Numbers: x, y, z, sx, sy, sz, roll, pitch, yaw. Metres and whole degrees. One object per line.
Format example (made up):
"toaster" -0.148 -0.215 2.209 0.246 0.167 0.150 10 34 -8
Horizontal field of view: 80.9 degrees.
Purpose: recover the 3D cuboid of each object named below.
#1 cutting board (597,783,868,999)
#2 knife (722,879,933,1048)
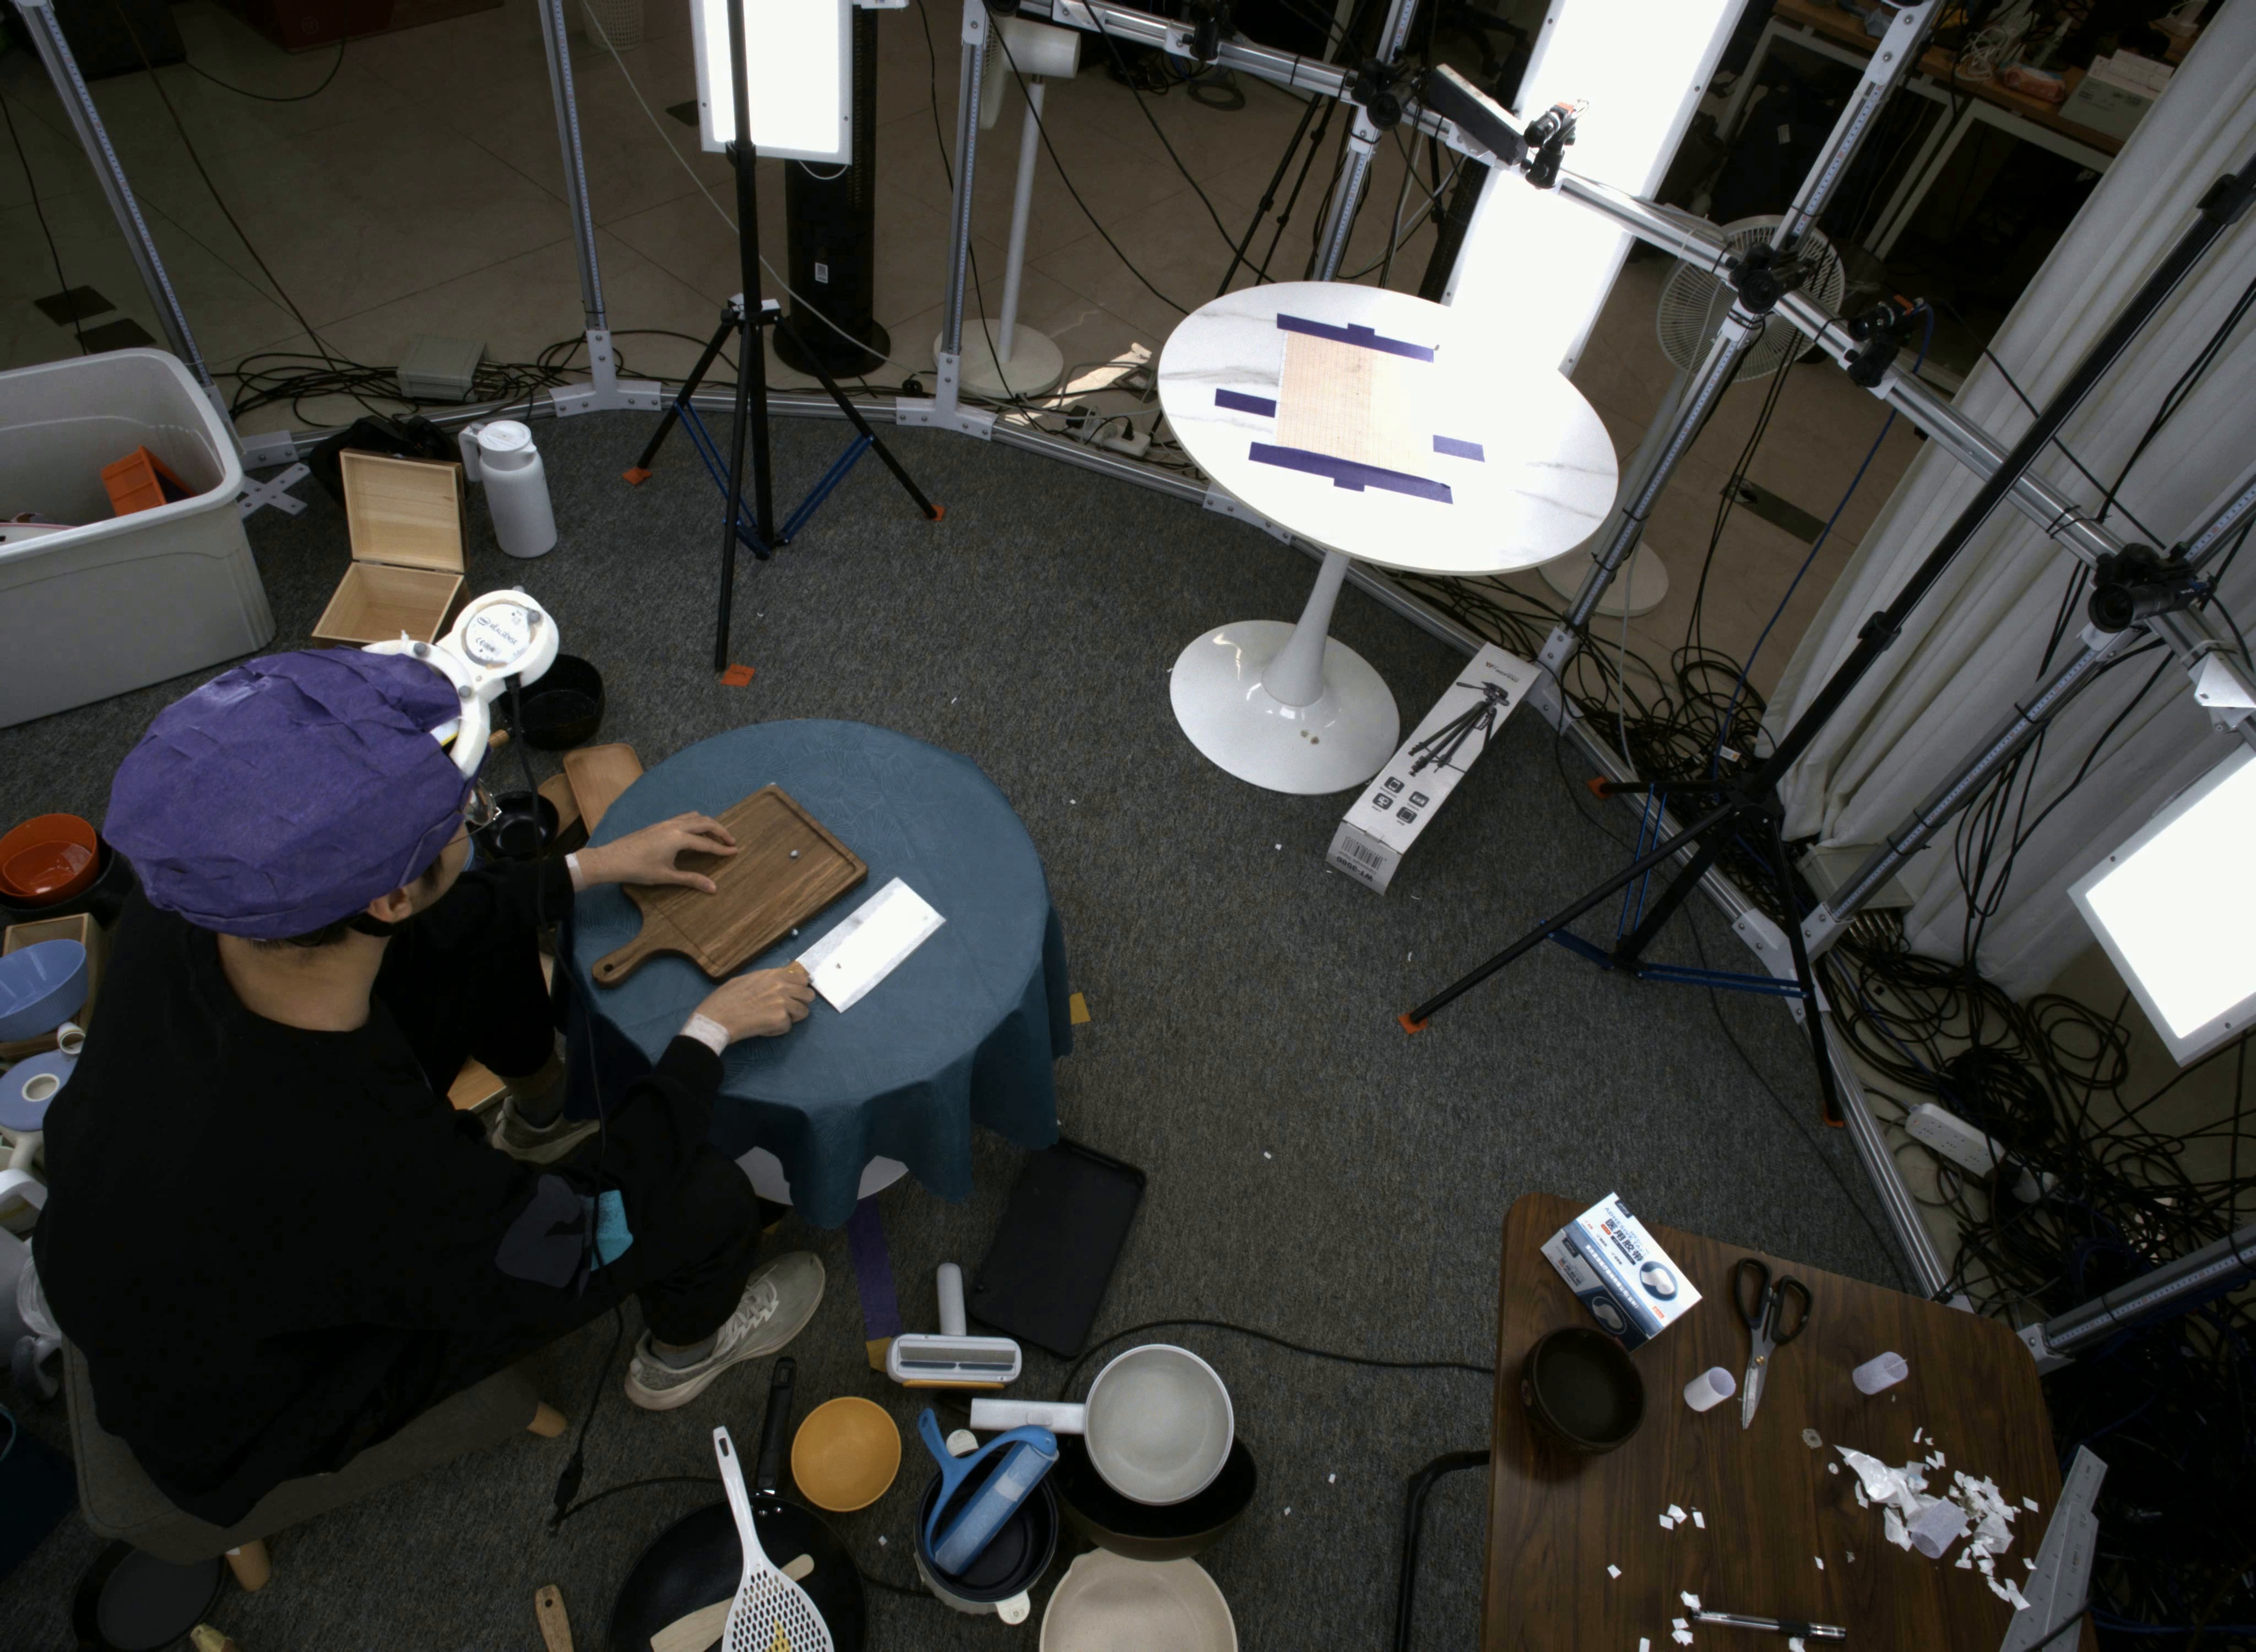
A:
"cutting board" -0.518 0.094 1.609 0.196 0.024 0.352 38 56 16
"knife" -0.357 0.176 1.590 0.092 0.021 0.305 41 53 7
